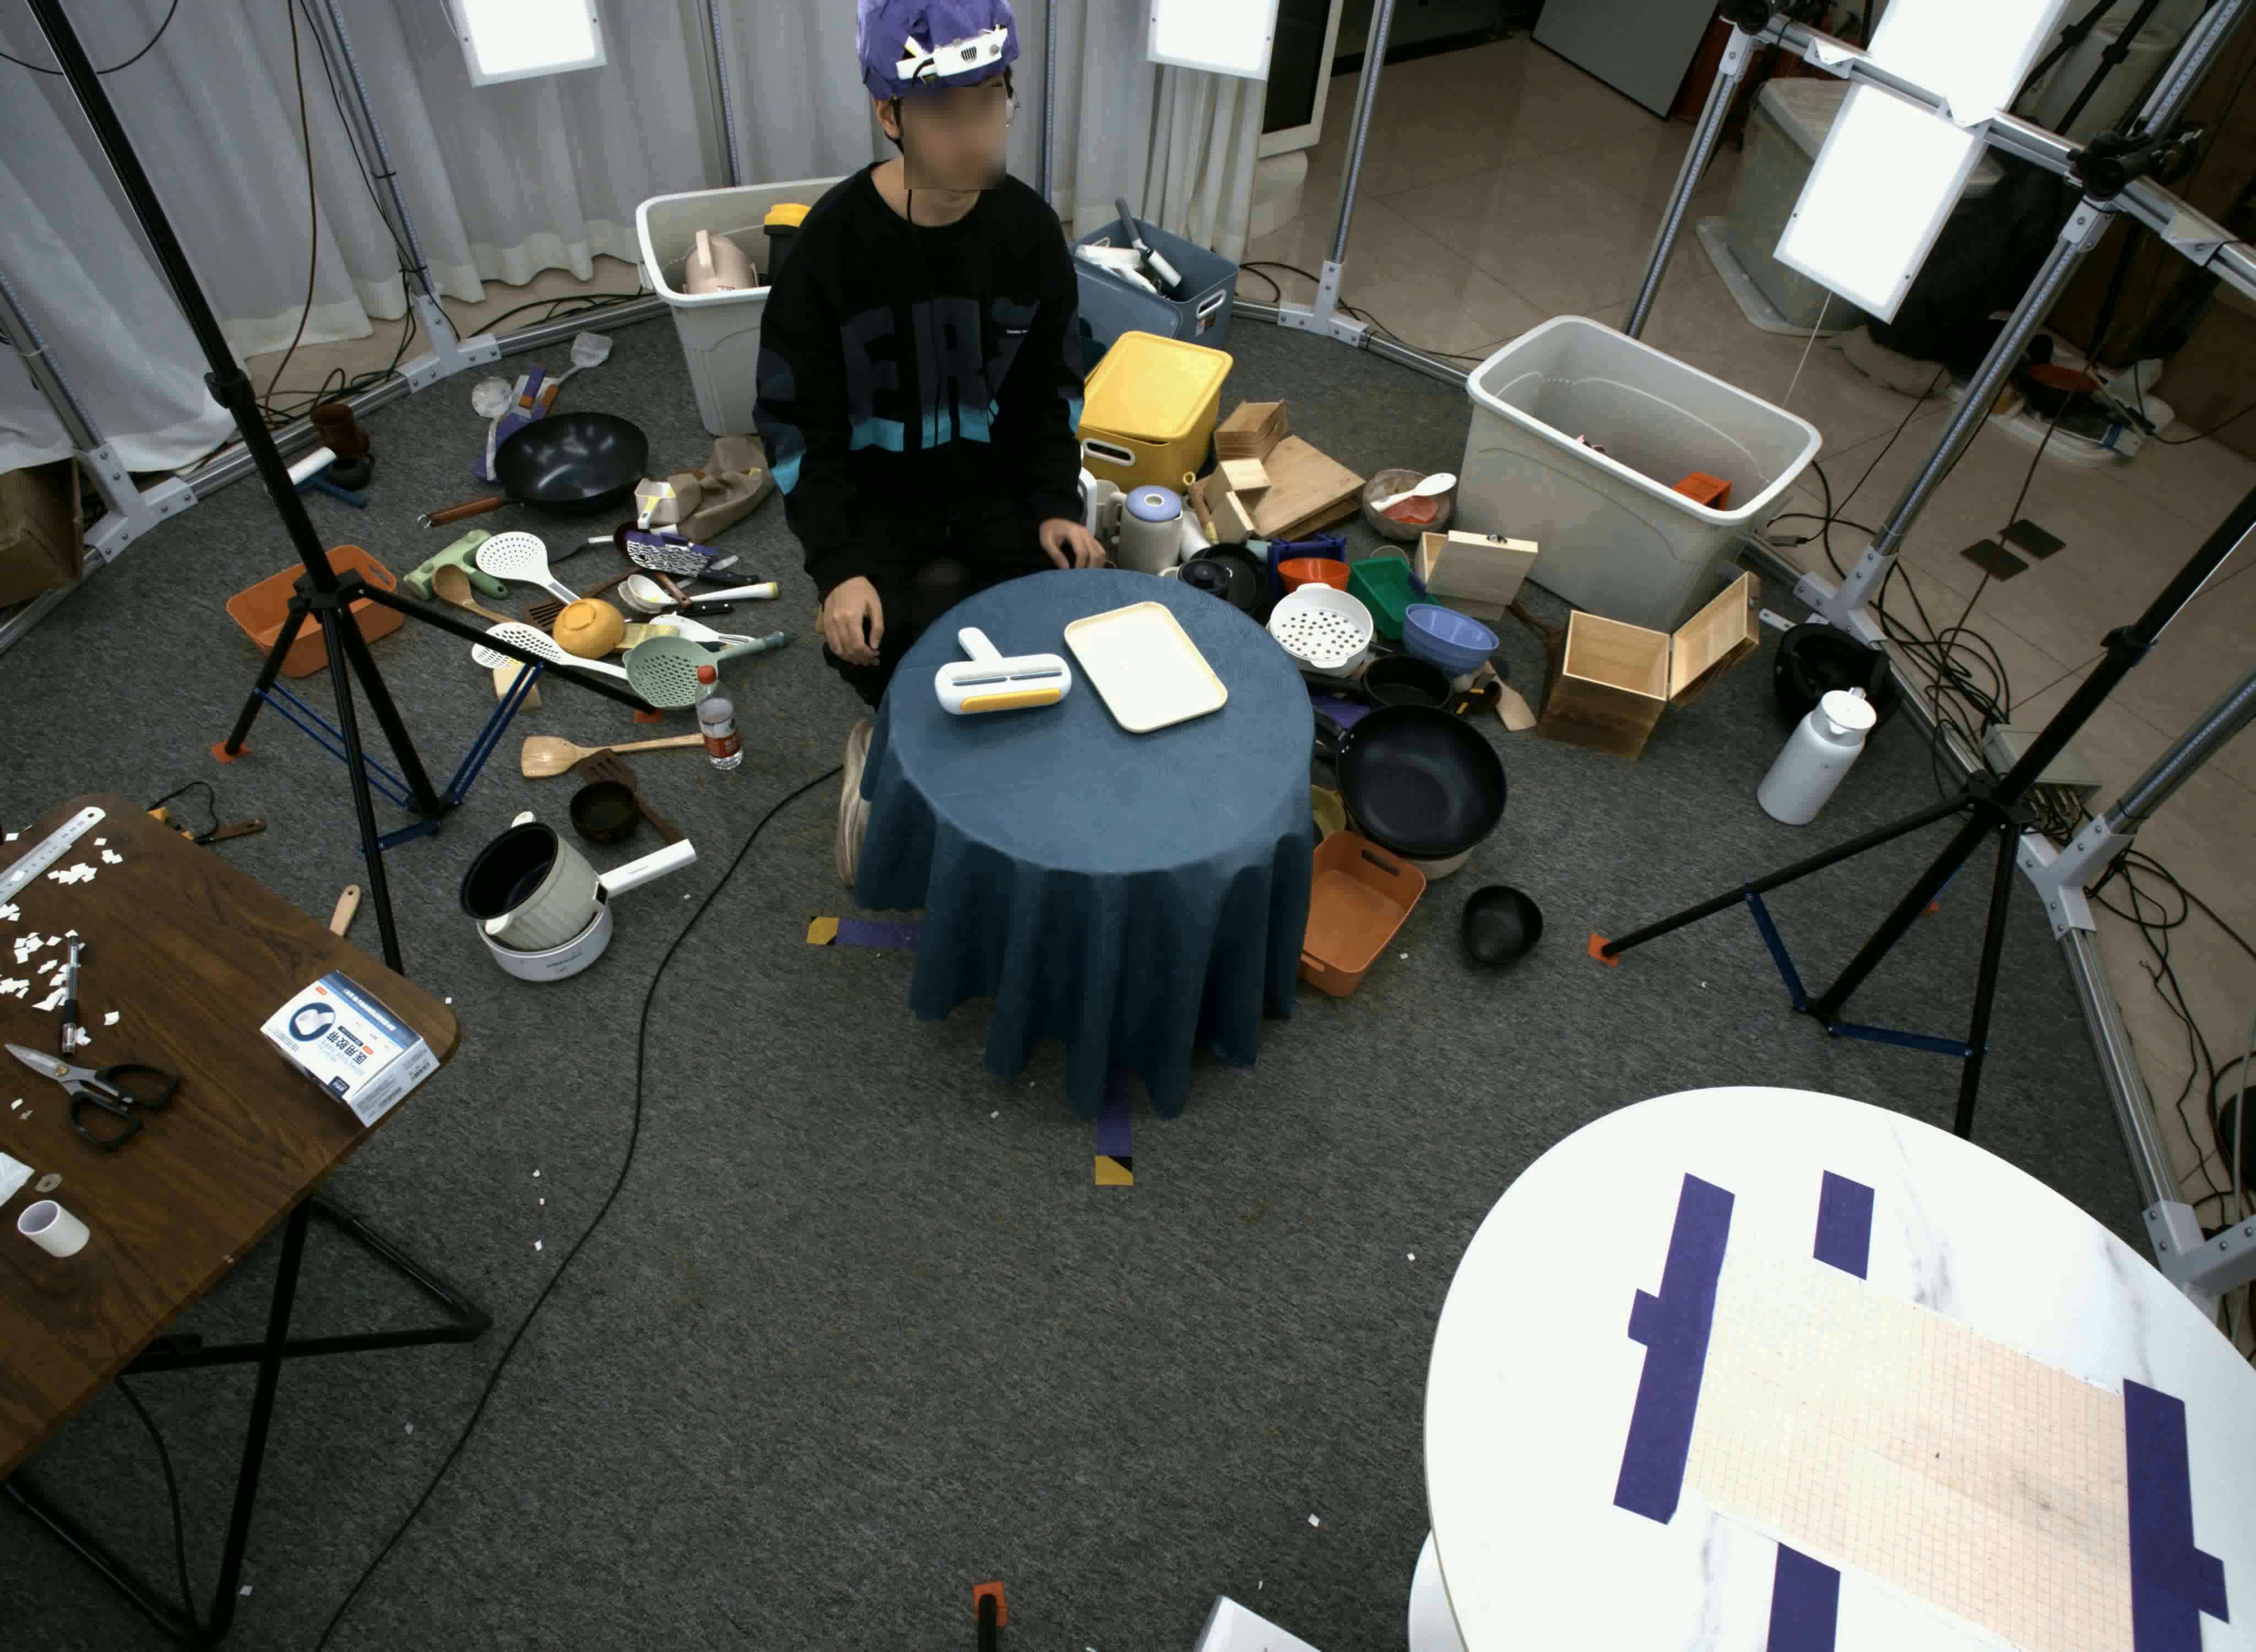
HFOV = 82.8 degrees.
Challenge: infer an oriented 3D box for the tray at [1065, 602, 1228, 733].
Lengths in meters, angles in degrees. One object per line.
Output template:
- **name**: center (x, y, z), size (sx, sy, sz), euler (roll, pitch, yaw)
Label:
- **tray**: center (0.024, -0.232, 1.859), size (0.171, 0.017, 0.245), euler (-18, 53, -18)

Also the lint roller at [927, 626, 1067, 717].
- **lint roller**: center (-0.198, -0.232, 1.813), size (0.192, 0.072, 0.197), euler (-9, 48, -18)
